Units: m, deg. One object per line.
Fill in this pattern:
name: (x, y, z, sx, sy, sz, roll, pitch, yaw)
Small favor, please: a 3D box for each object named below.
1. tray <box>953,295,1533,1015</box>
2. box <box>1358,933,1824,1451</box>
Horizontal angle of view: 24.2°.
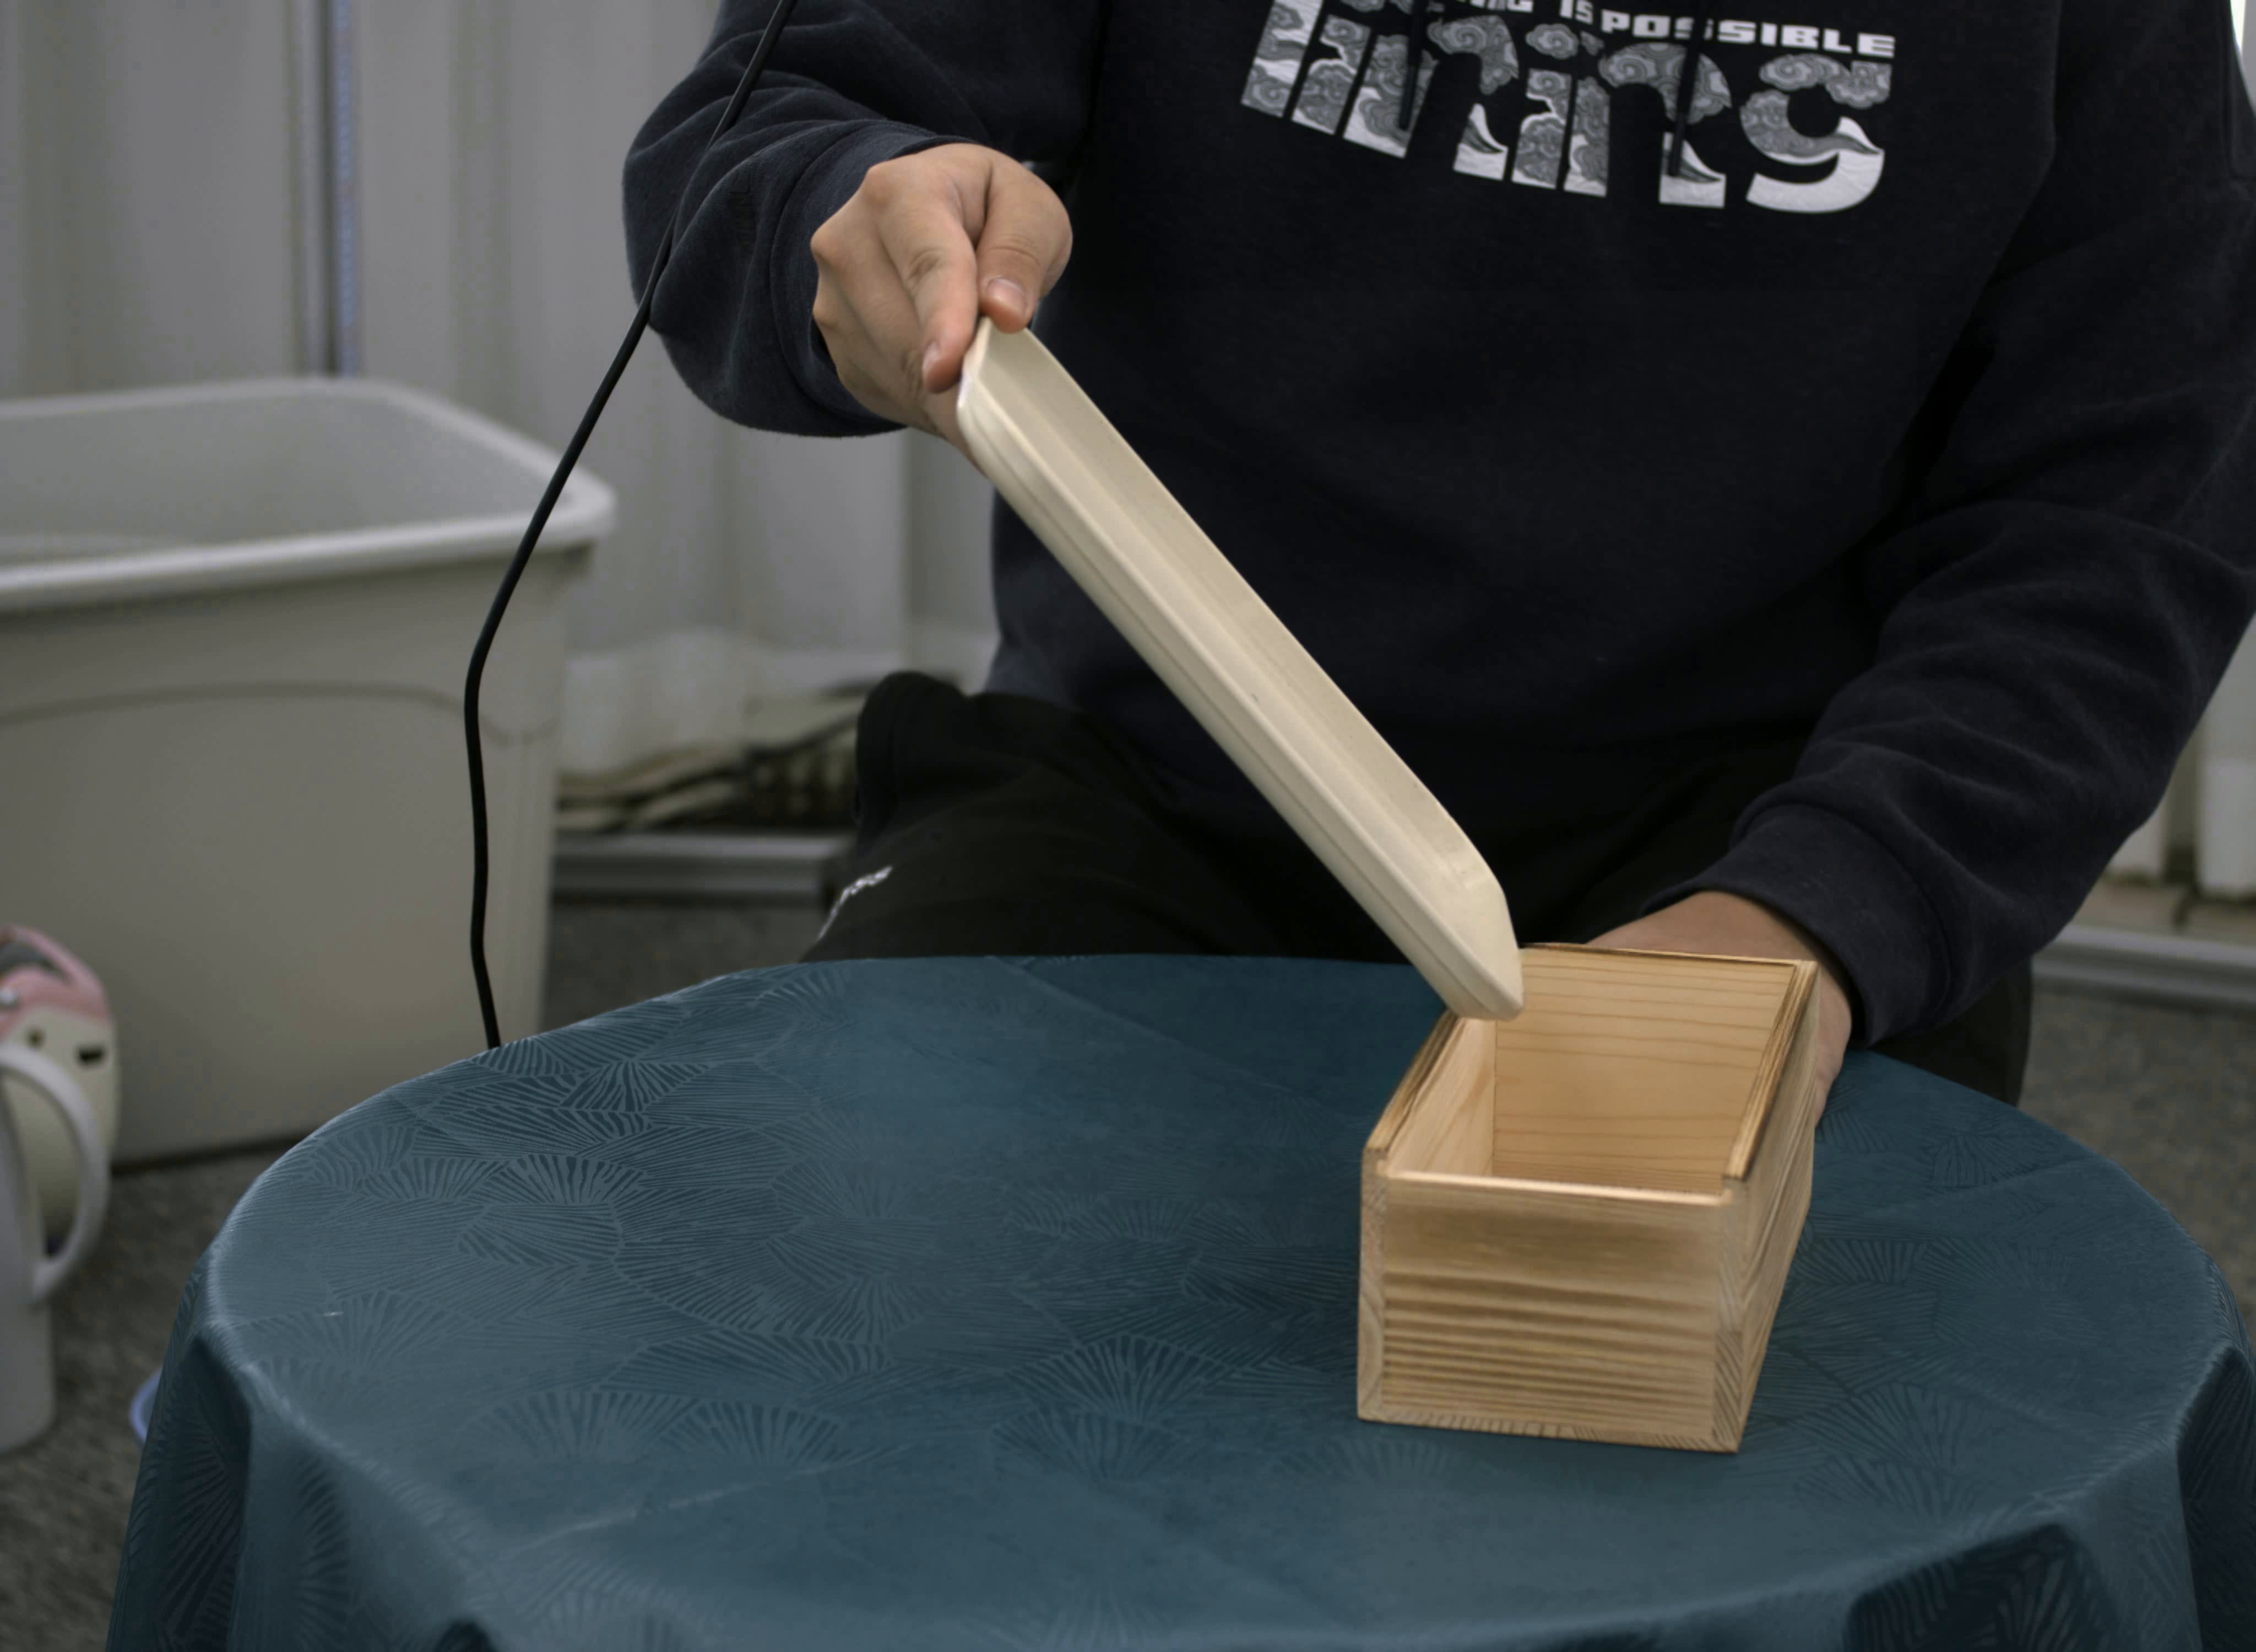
tray: (0.030, -0.048, 1.500, 0.017, 0.241, 0.170, -40, 12, 9)
box: (0.137, 0.101, 1.523, 0.107, 0.081, 0.211, 4, 16, 11)
